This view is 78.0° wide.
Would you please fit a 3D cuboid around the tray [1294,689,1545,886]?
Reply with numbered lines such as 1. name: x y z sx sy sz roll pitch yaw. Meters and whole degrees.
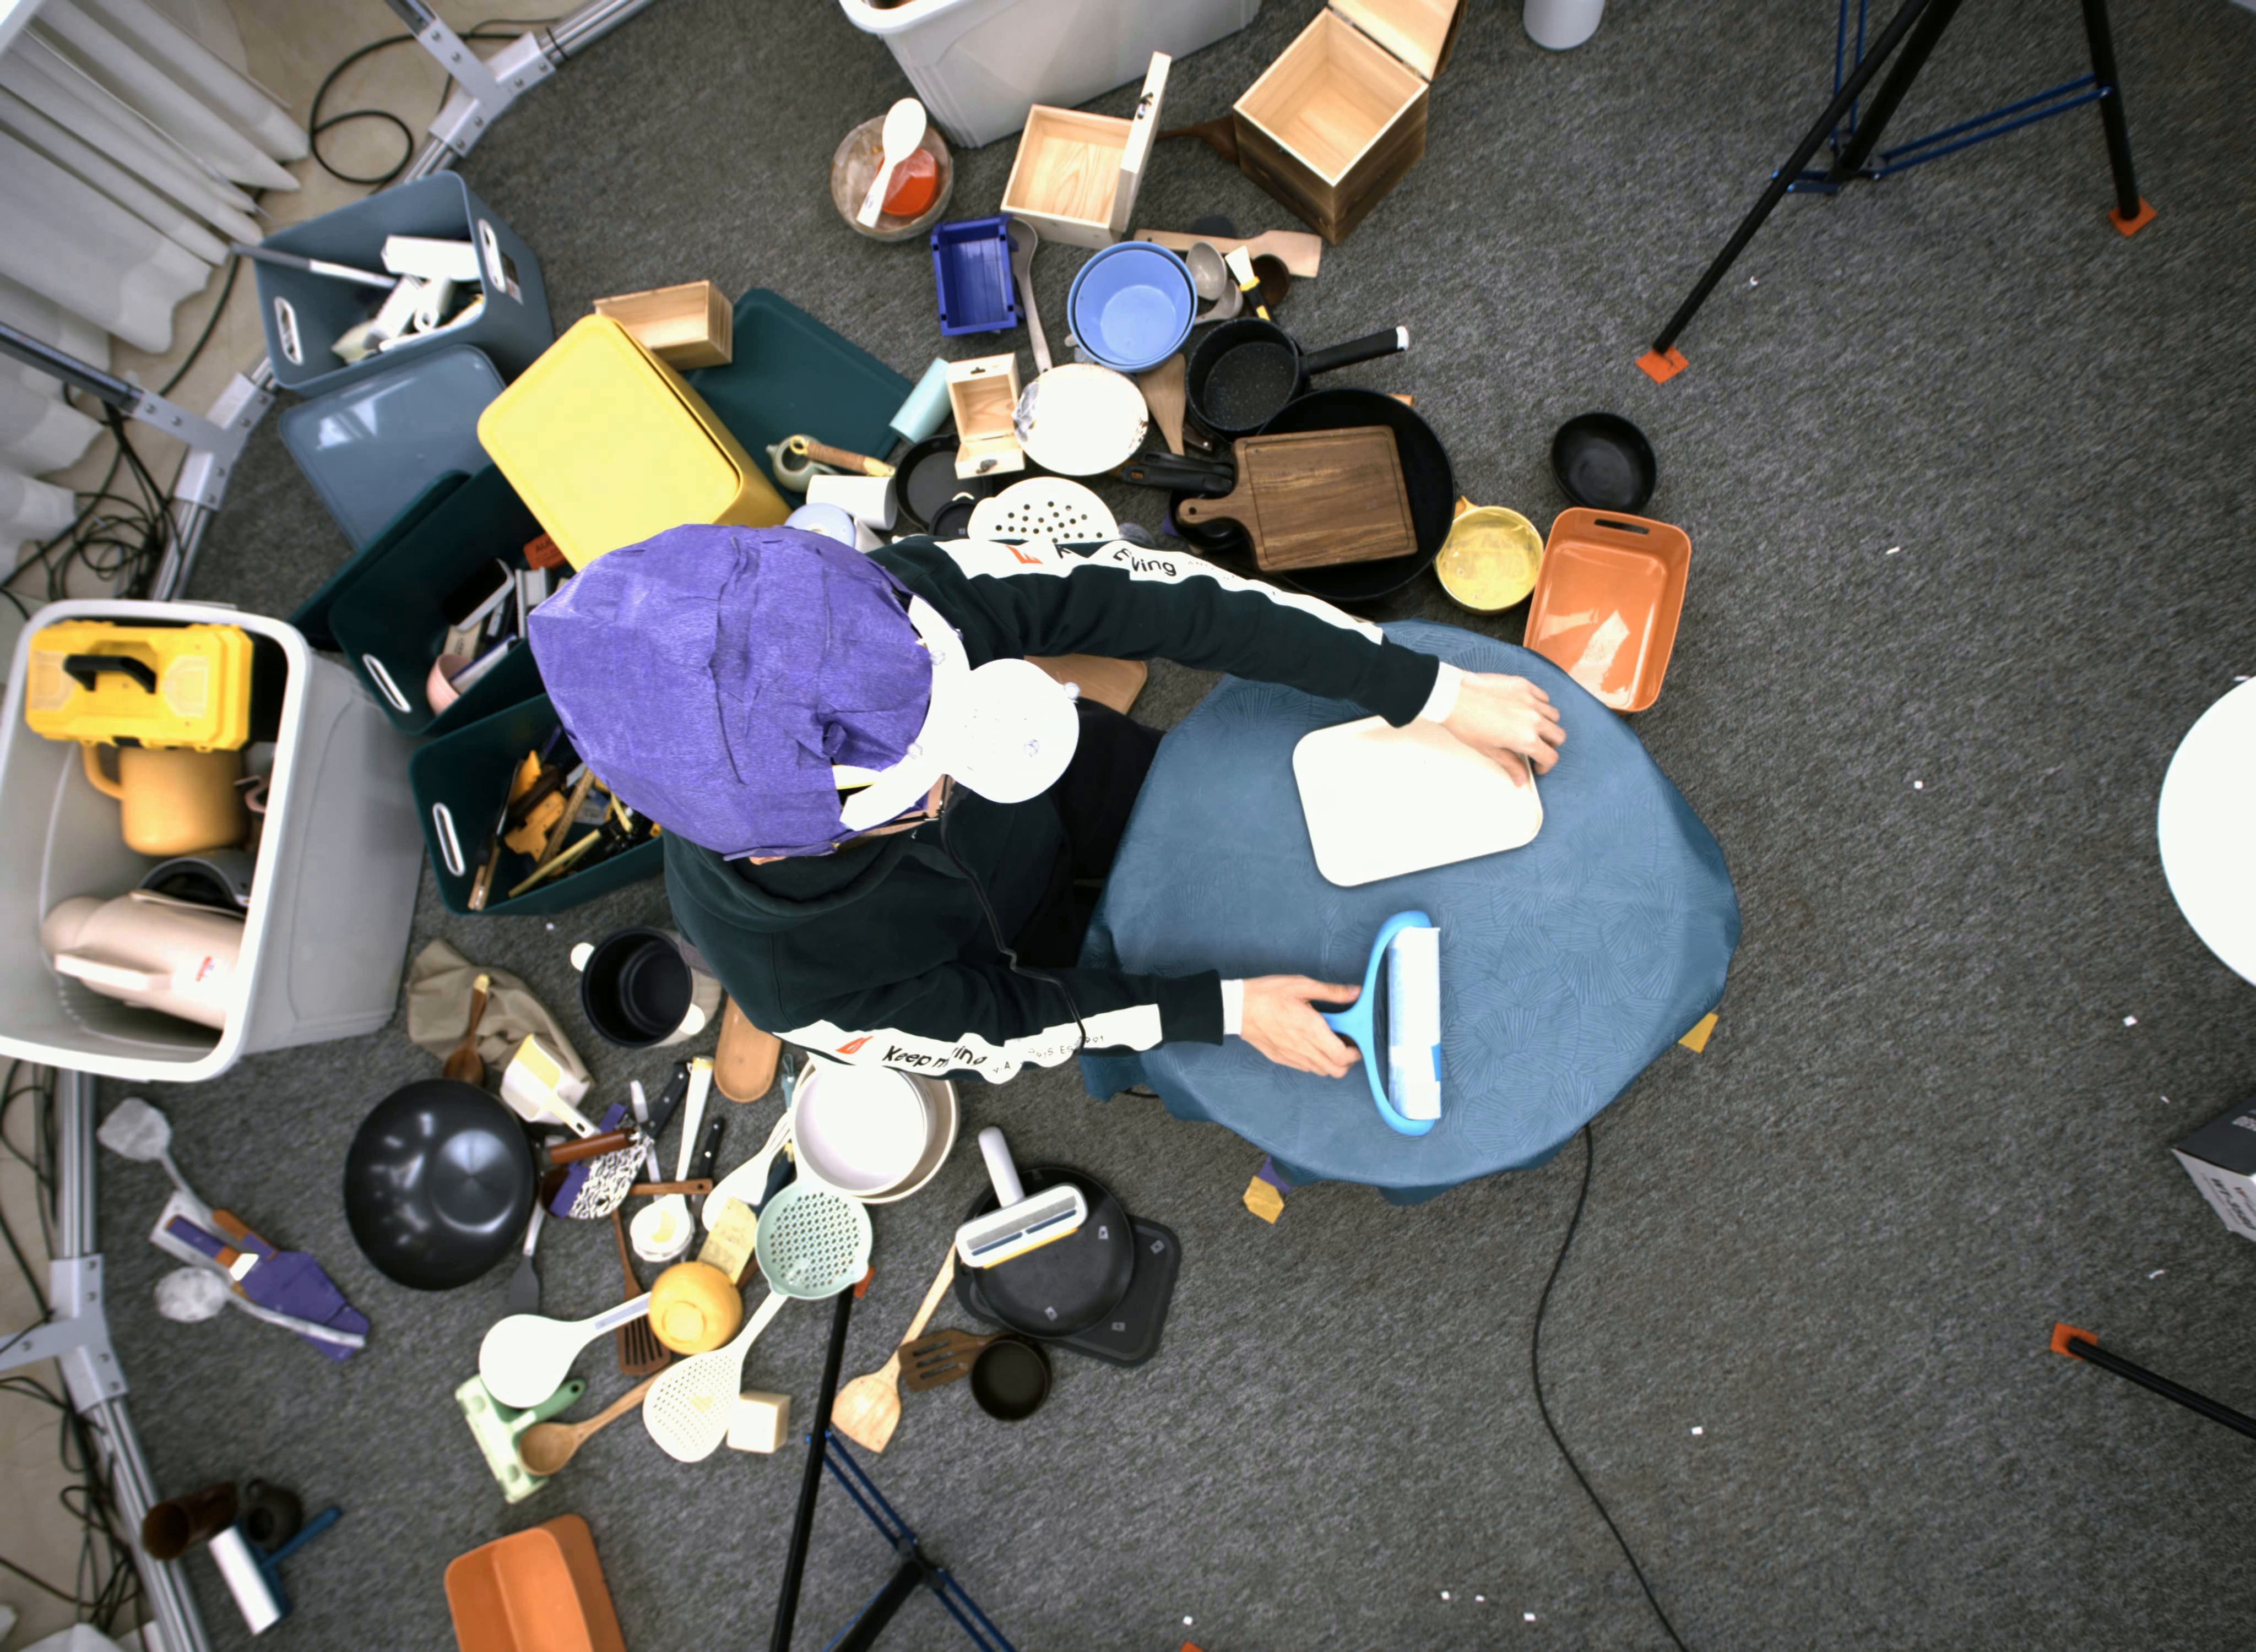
1. tray: 0.304 -0.041 1.446 0.241 0.017 0.170 -14 84 9

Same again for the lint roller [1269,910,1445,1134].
1. lint roller: 0.236 0.202 1.423 0.181 0.068 0.228 -4 88 6
